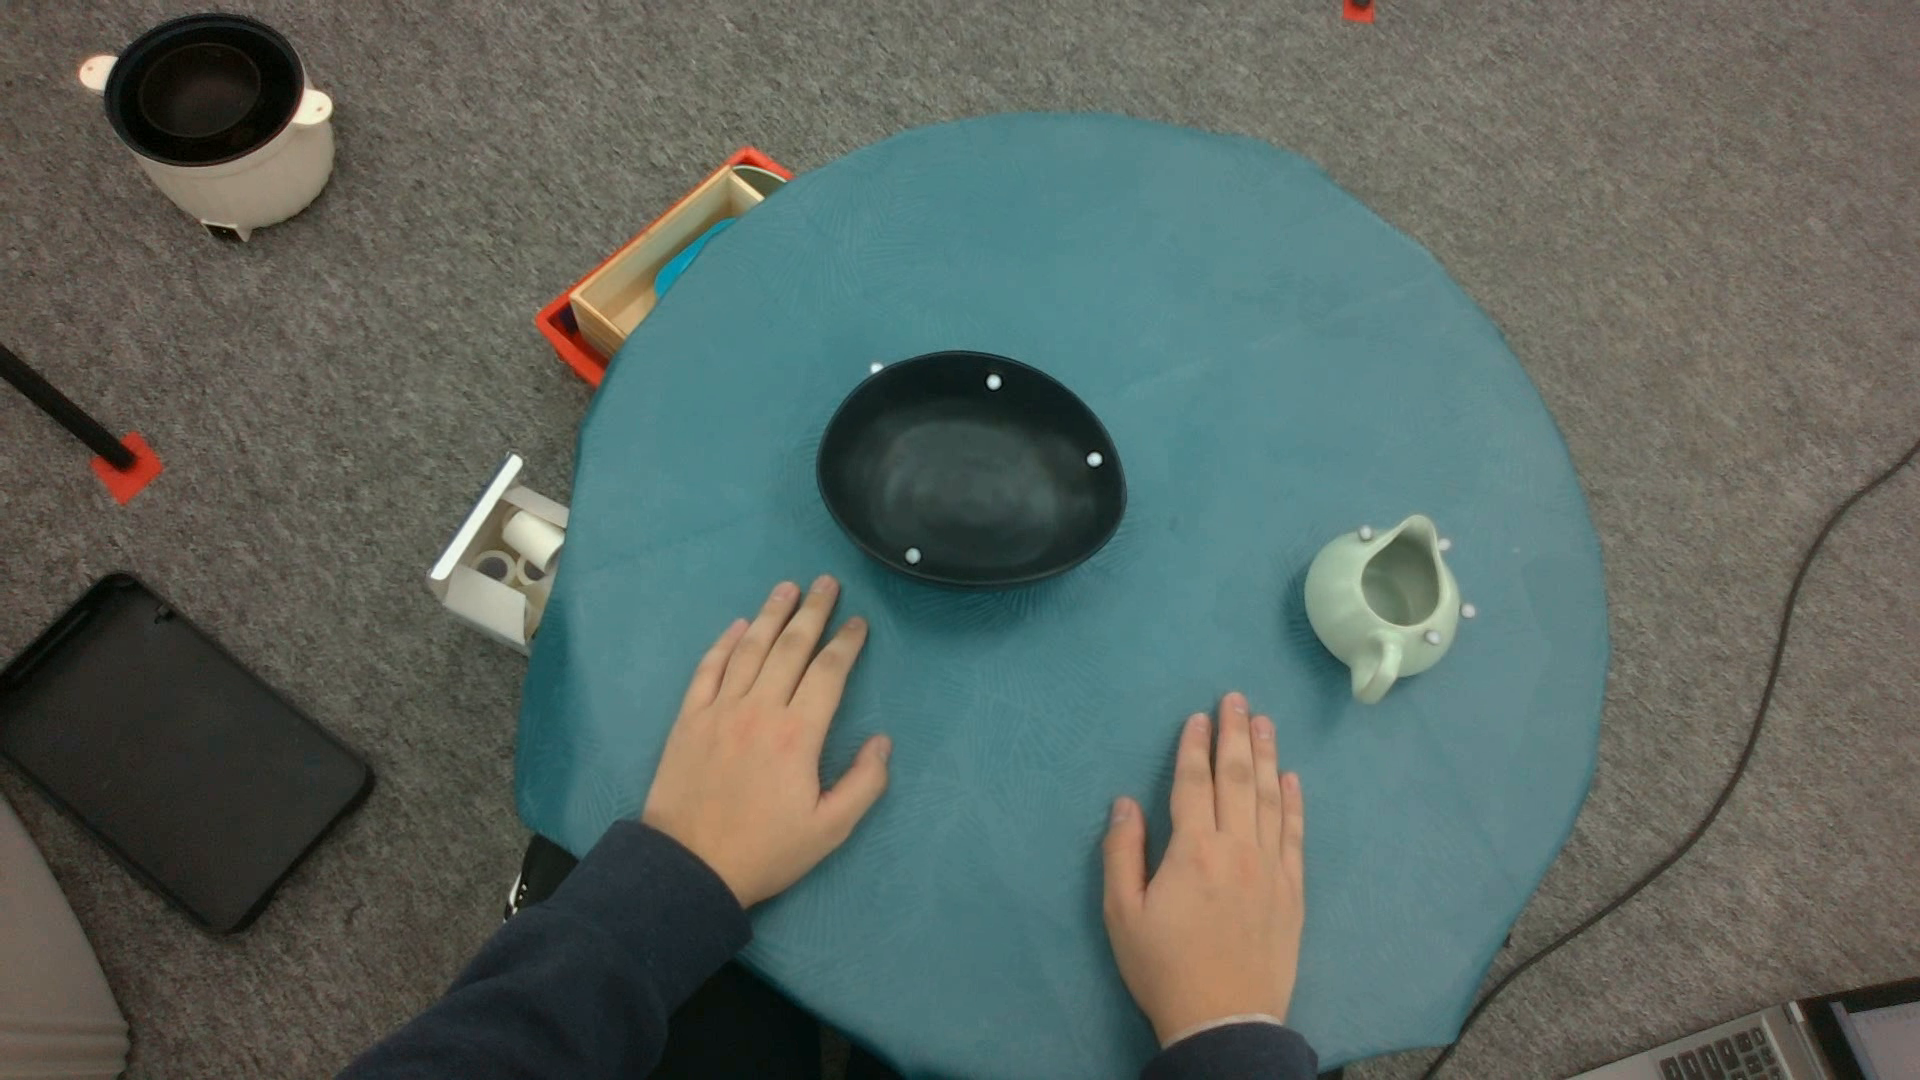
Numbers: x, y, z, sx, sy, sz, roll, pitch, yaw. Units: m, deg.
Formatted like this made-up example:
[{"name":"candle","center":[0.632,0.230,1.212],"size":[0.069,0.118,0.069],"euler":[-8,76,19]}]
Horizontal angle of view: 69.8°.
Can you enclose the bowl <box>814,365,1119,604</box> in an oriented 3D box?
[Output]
[{"name":"bowl","center":[0.003,-0.023,0.774],"size":[0.170,0.066,0.138],"euler":[6,69,-4]}]

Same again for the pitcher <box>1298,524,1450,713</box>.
[{"name":"pitcher","center":[0.232,0.047,0.772],"size":[0.086,0.060,0.108],"euler":[18,70,3]}]
